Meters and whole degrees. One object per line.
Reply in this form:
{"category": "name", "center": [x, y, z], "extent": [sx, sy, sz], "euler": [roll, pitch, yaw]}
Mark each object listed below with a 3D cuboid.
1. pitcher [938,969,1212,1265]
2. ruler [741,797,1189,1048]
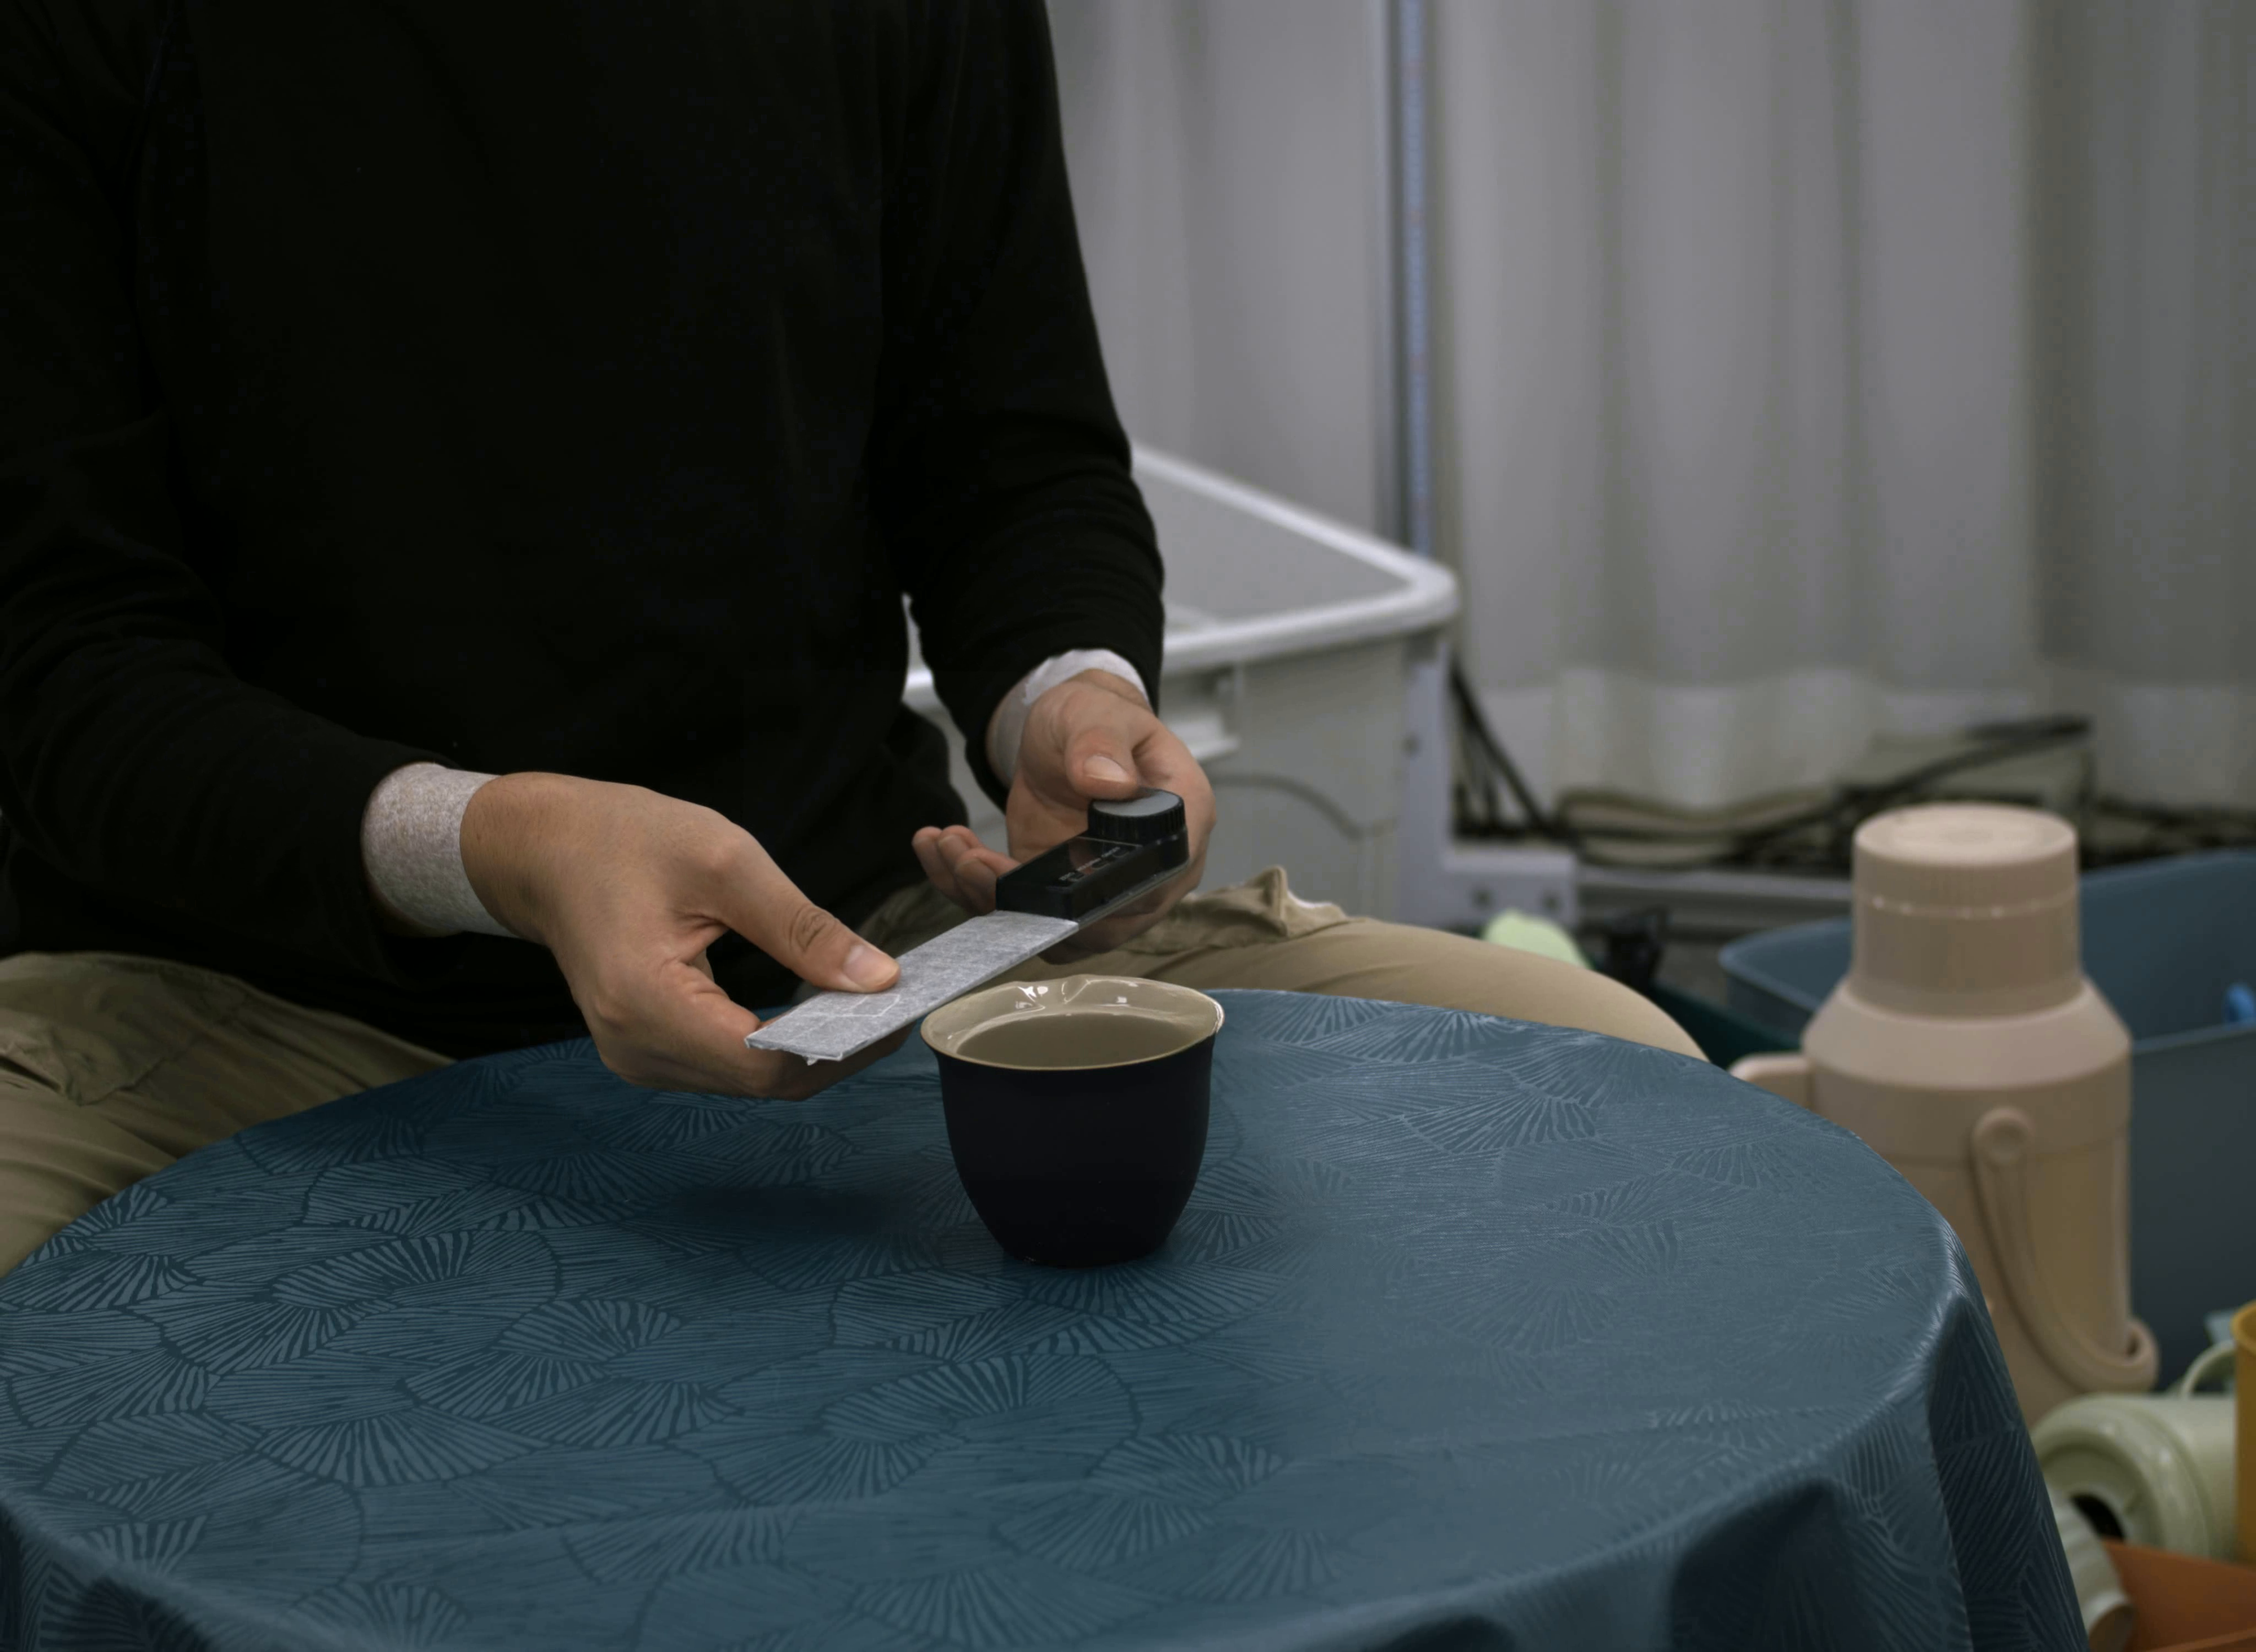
{"category": "pitcher", "center": [-0.016, 0.091, 1.666], "extent": [0.083, 0.071, 0.097], "euler": [-6, 15, -8]}
{"category": "ruler", "center": [-0.046, 0.028, 1.723], "extent": [0.038, 0.024, 0.218], "euler": [0, 15, 33]}
